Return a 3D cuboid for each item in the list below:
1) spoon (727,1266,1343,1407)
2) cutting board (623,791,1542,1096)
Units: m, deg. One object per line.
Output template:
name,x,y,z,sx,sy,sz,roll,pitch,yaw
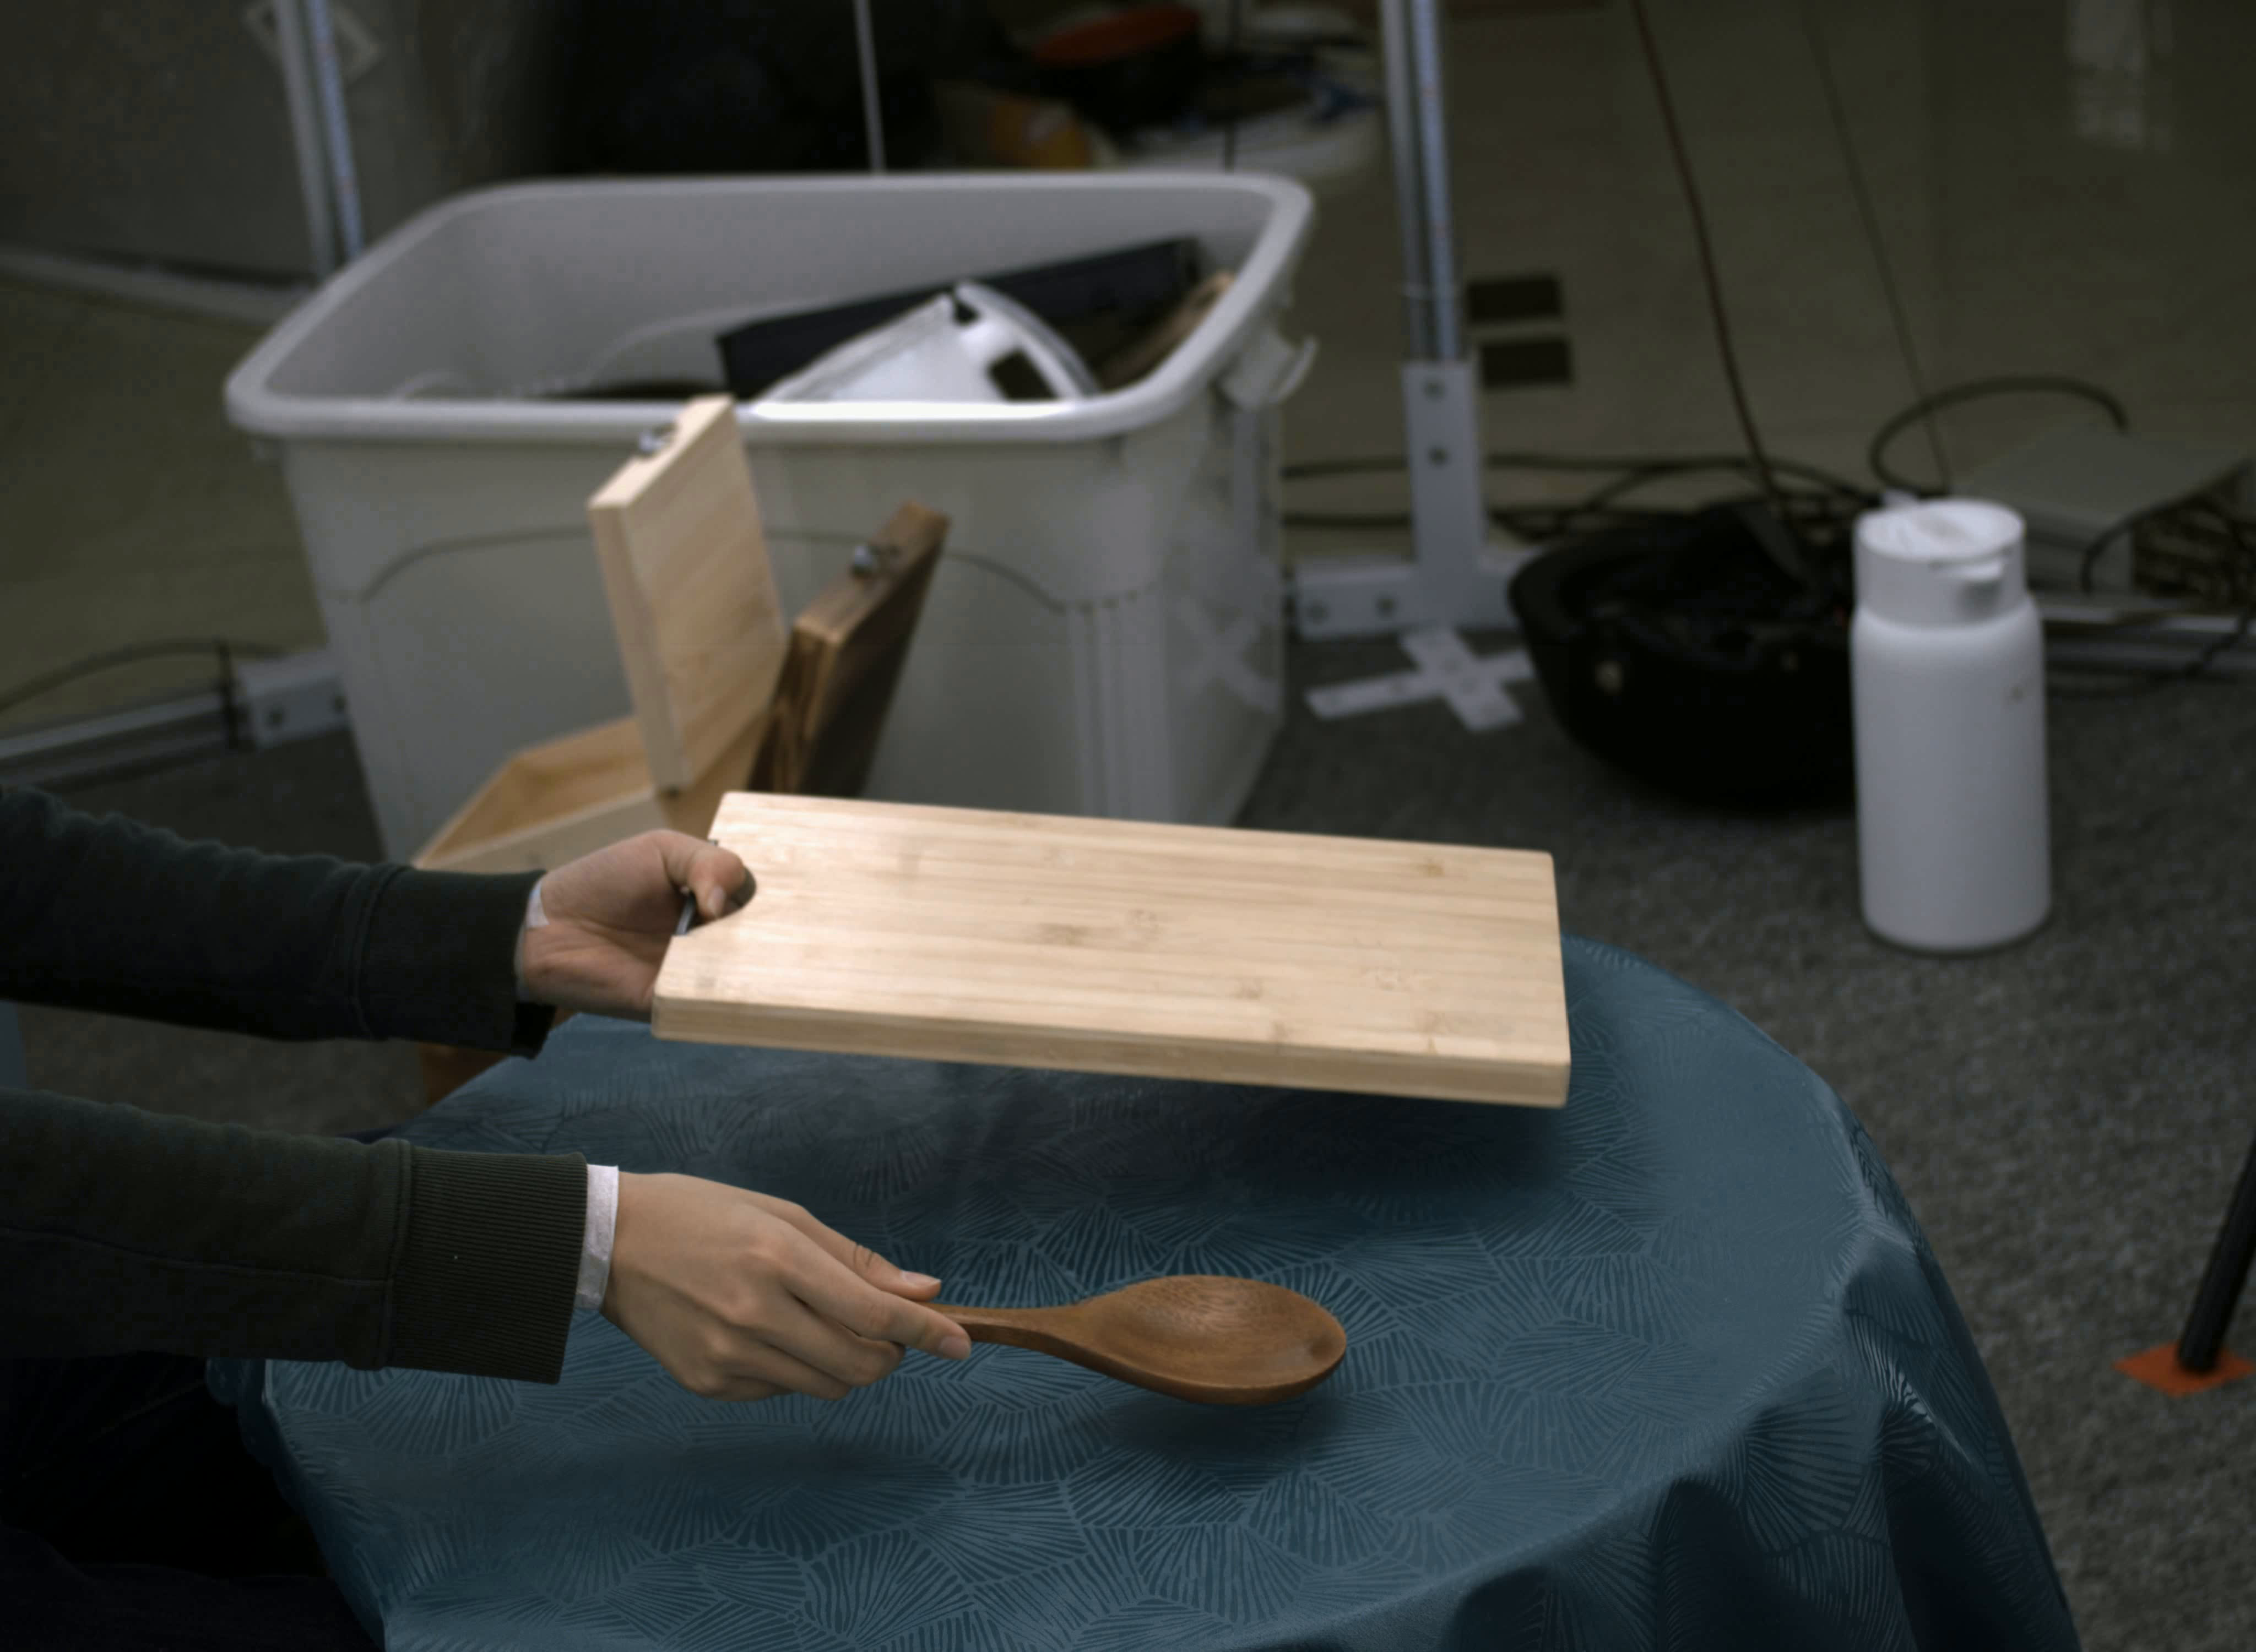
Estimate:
spoon,-0.033,0.175,1.980,0.215,0.017,0.074,5,30,-2
cutting board,-0.010,0.043,2.198,0.348,0.024,0.248,4,18,0
